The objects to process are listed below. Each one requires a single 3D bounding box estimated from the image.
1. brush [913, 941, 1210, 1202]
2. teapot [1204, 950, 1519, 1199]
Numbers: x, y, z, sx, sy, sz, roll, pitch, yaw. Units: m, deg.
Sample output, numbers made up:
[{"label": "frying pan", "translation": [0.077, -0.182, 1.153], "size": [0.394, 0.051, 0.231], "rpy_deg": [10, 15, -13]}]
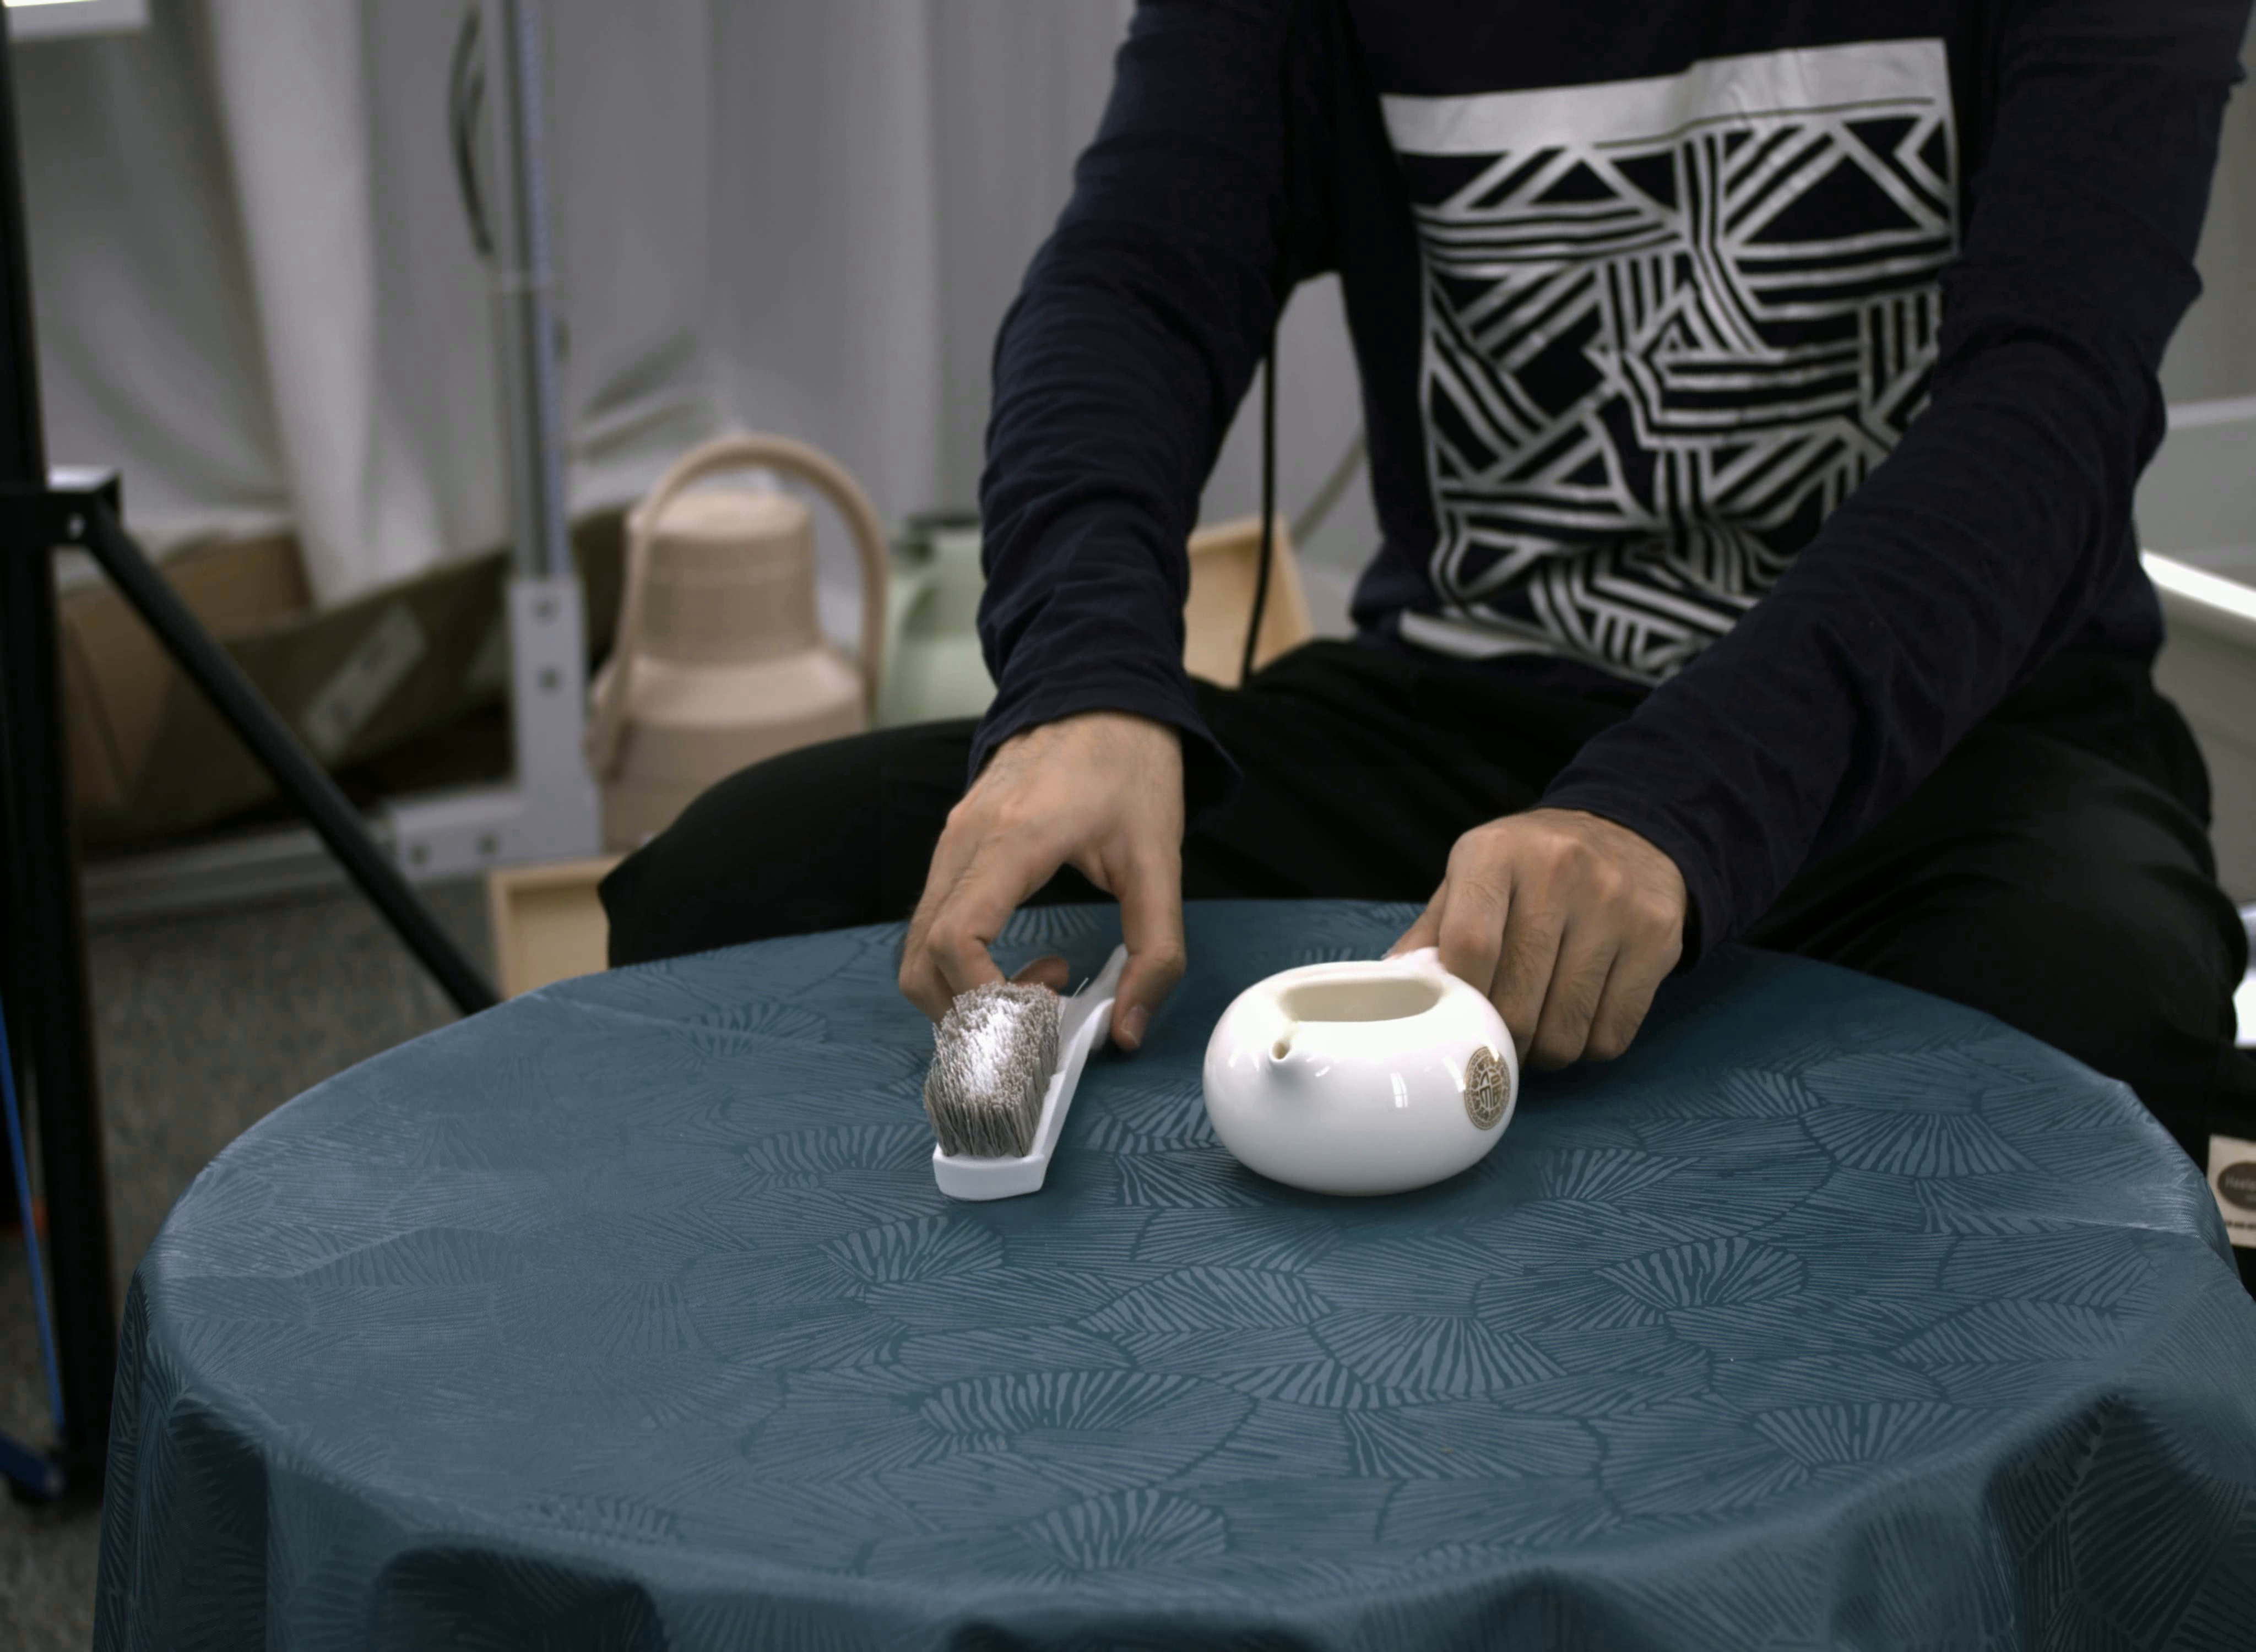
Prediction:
[{"label": "brush", "translation": [-0.017, 0.056, 1.657], "size": [0.035, 0.050, 0.241], "rpy_deg": [-4, 15, 18]}, {"label": "teapot", "translation": [0.074, 0.073, 1.576], "size": [0.095, 0.056, 0.125], "rpy_deg": [0, 13, 26]}]
